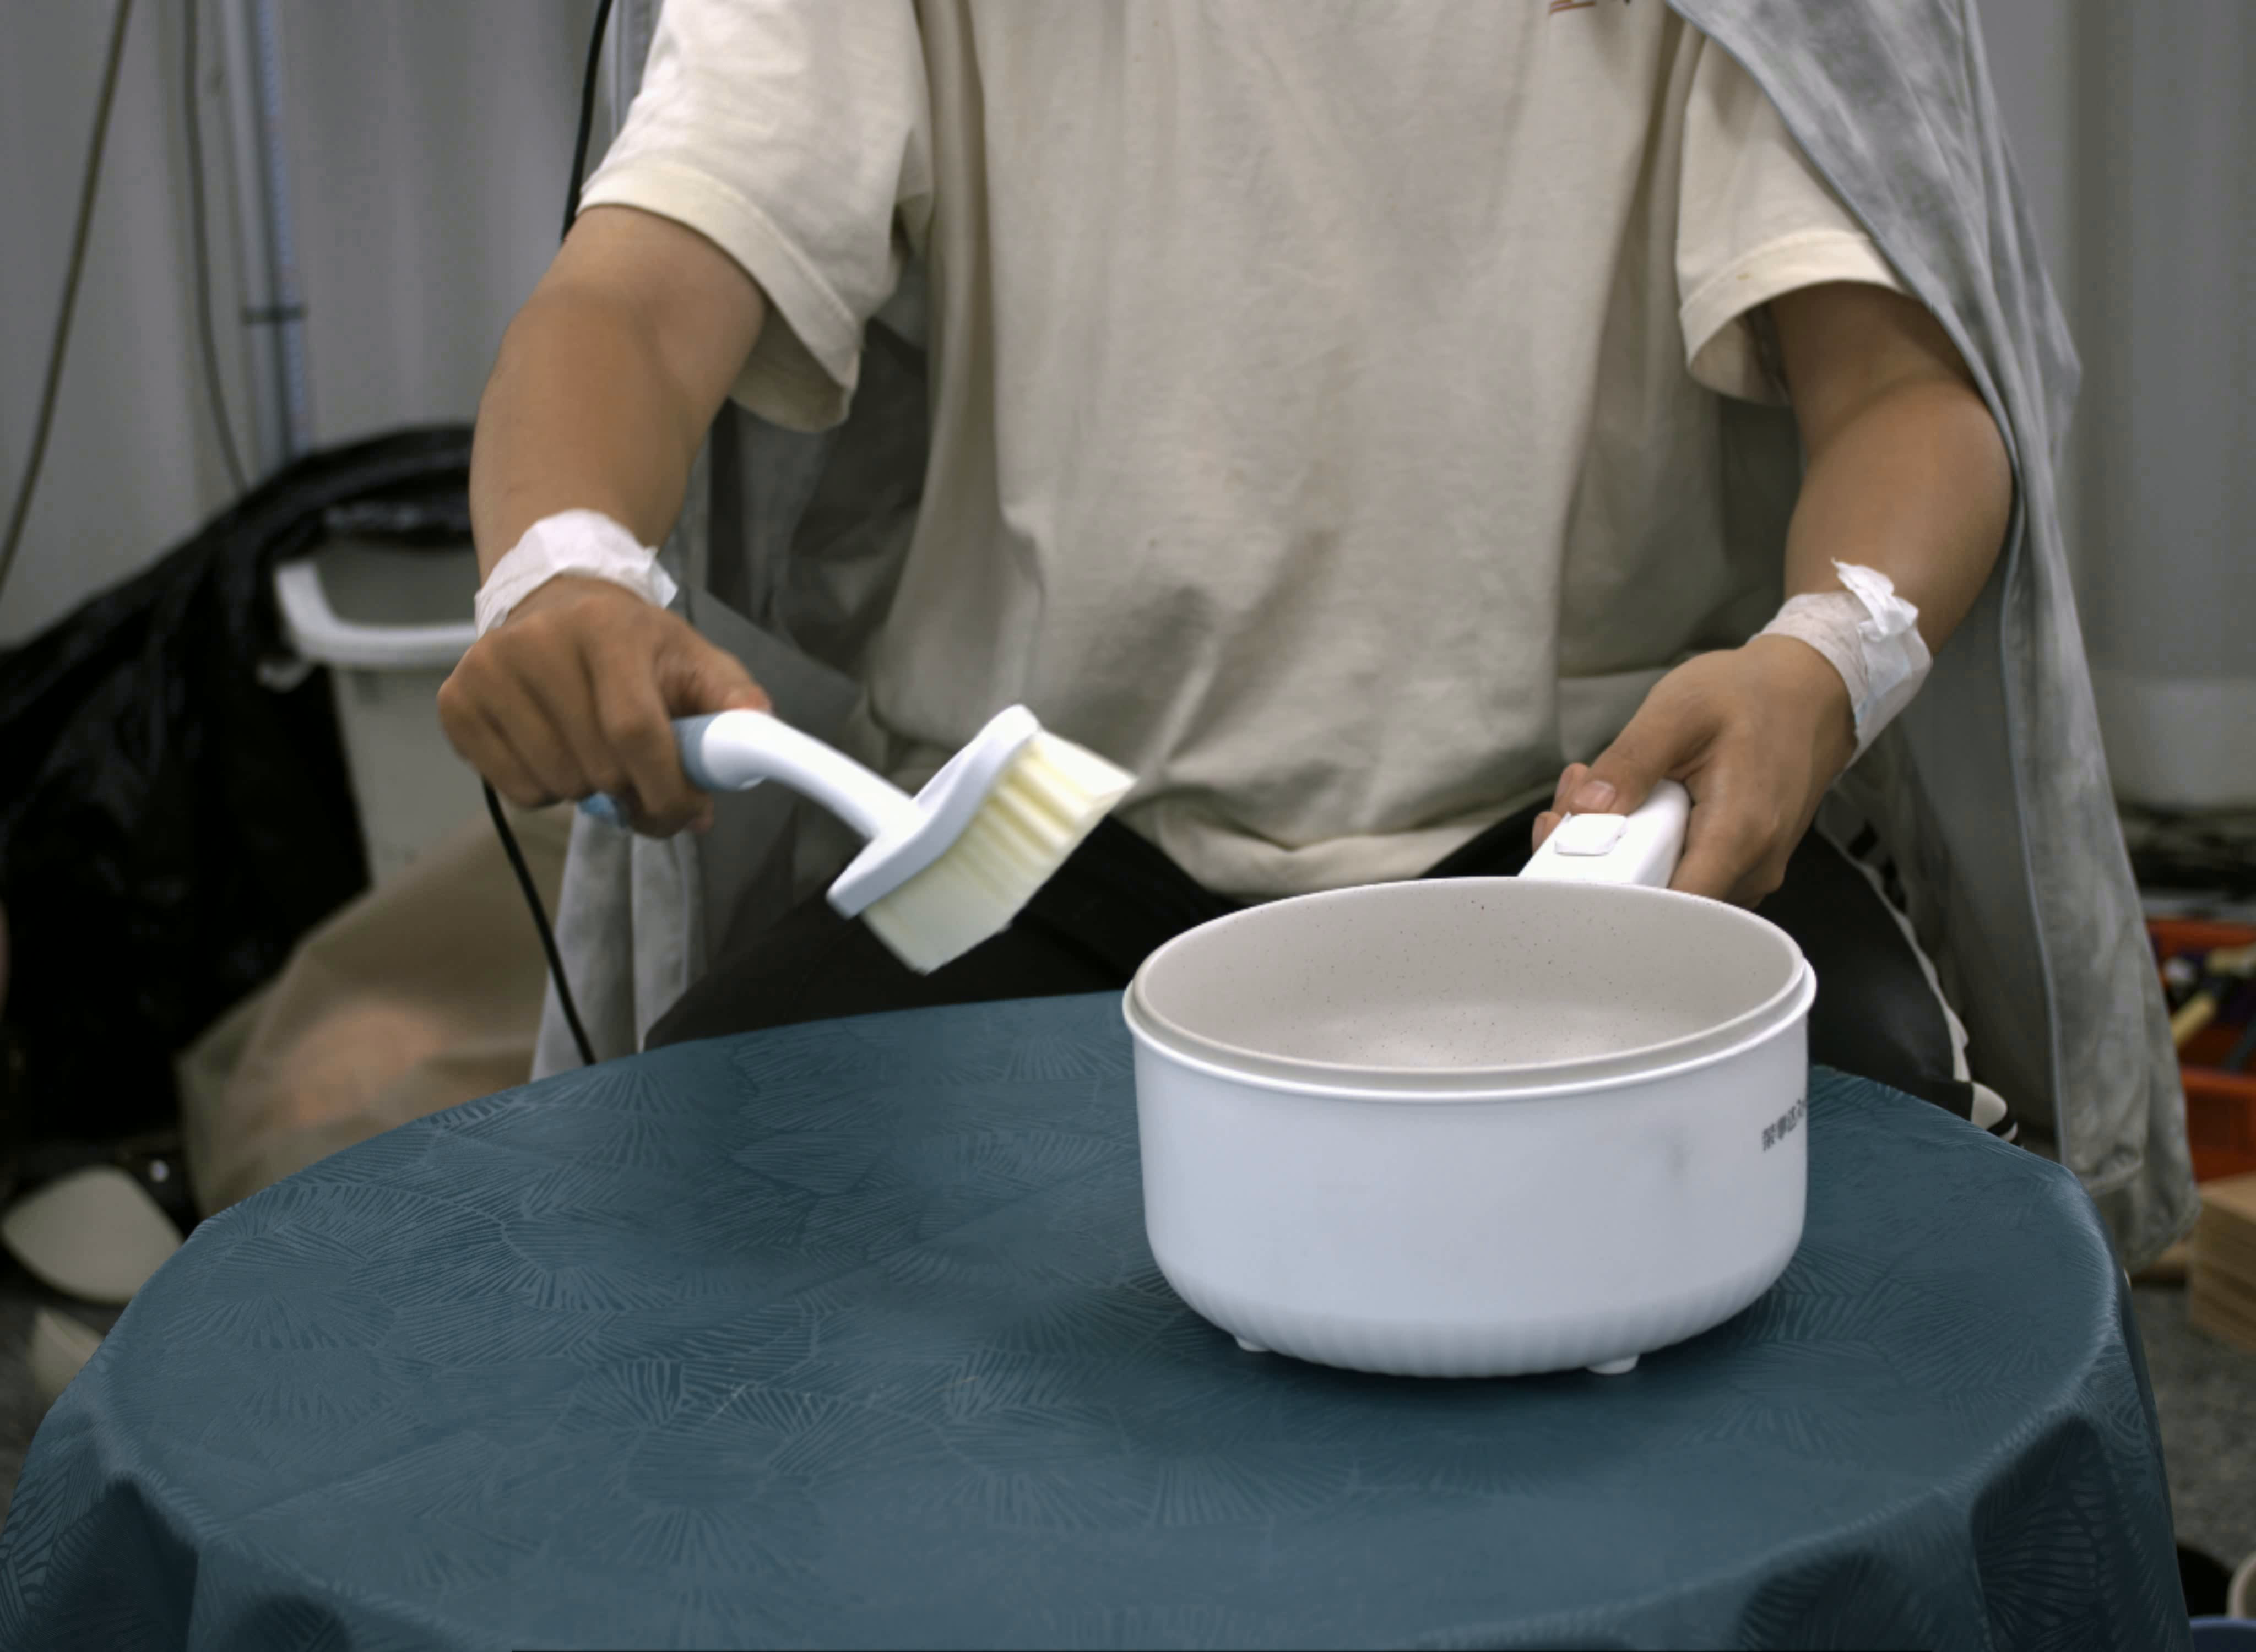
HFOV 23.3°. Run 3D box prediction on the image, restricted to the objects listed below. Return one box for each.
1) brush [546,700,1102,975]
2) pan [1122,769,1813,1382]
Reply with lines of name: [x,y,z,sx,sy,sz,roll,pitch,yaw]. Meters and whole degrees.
brush: [-0.088,0.004,1.687,0.082,0.085,0.326,-5,0,-27]
pan: [0.123,0.071,1.668,0.201,0.102,0.356,1,15,17]
